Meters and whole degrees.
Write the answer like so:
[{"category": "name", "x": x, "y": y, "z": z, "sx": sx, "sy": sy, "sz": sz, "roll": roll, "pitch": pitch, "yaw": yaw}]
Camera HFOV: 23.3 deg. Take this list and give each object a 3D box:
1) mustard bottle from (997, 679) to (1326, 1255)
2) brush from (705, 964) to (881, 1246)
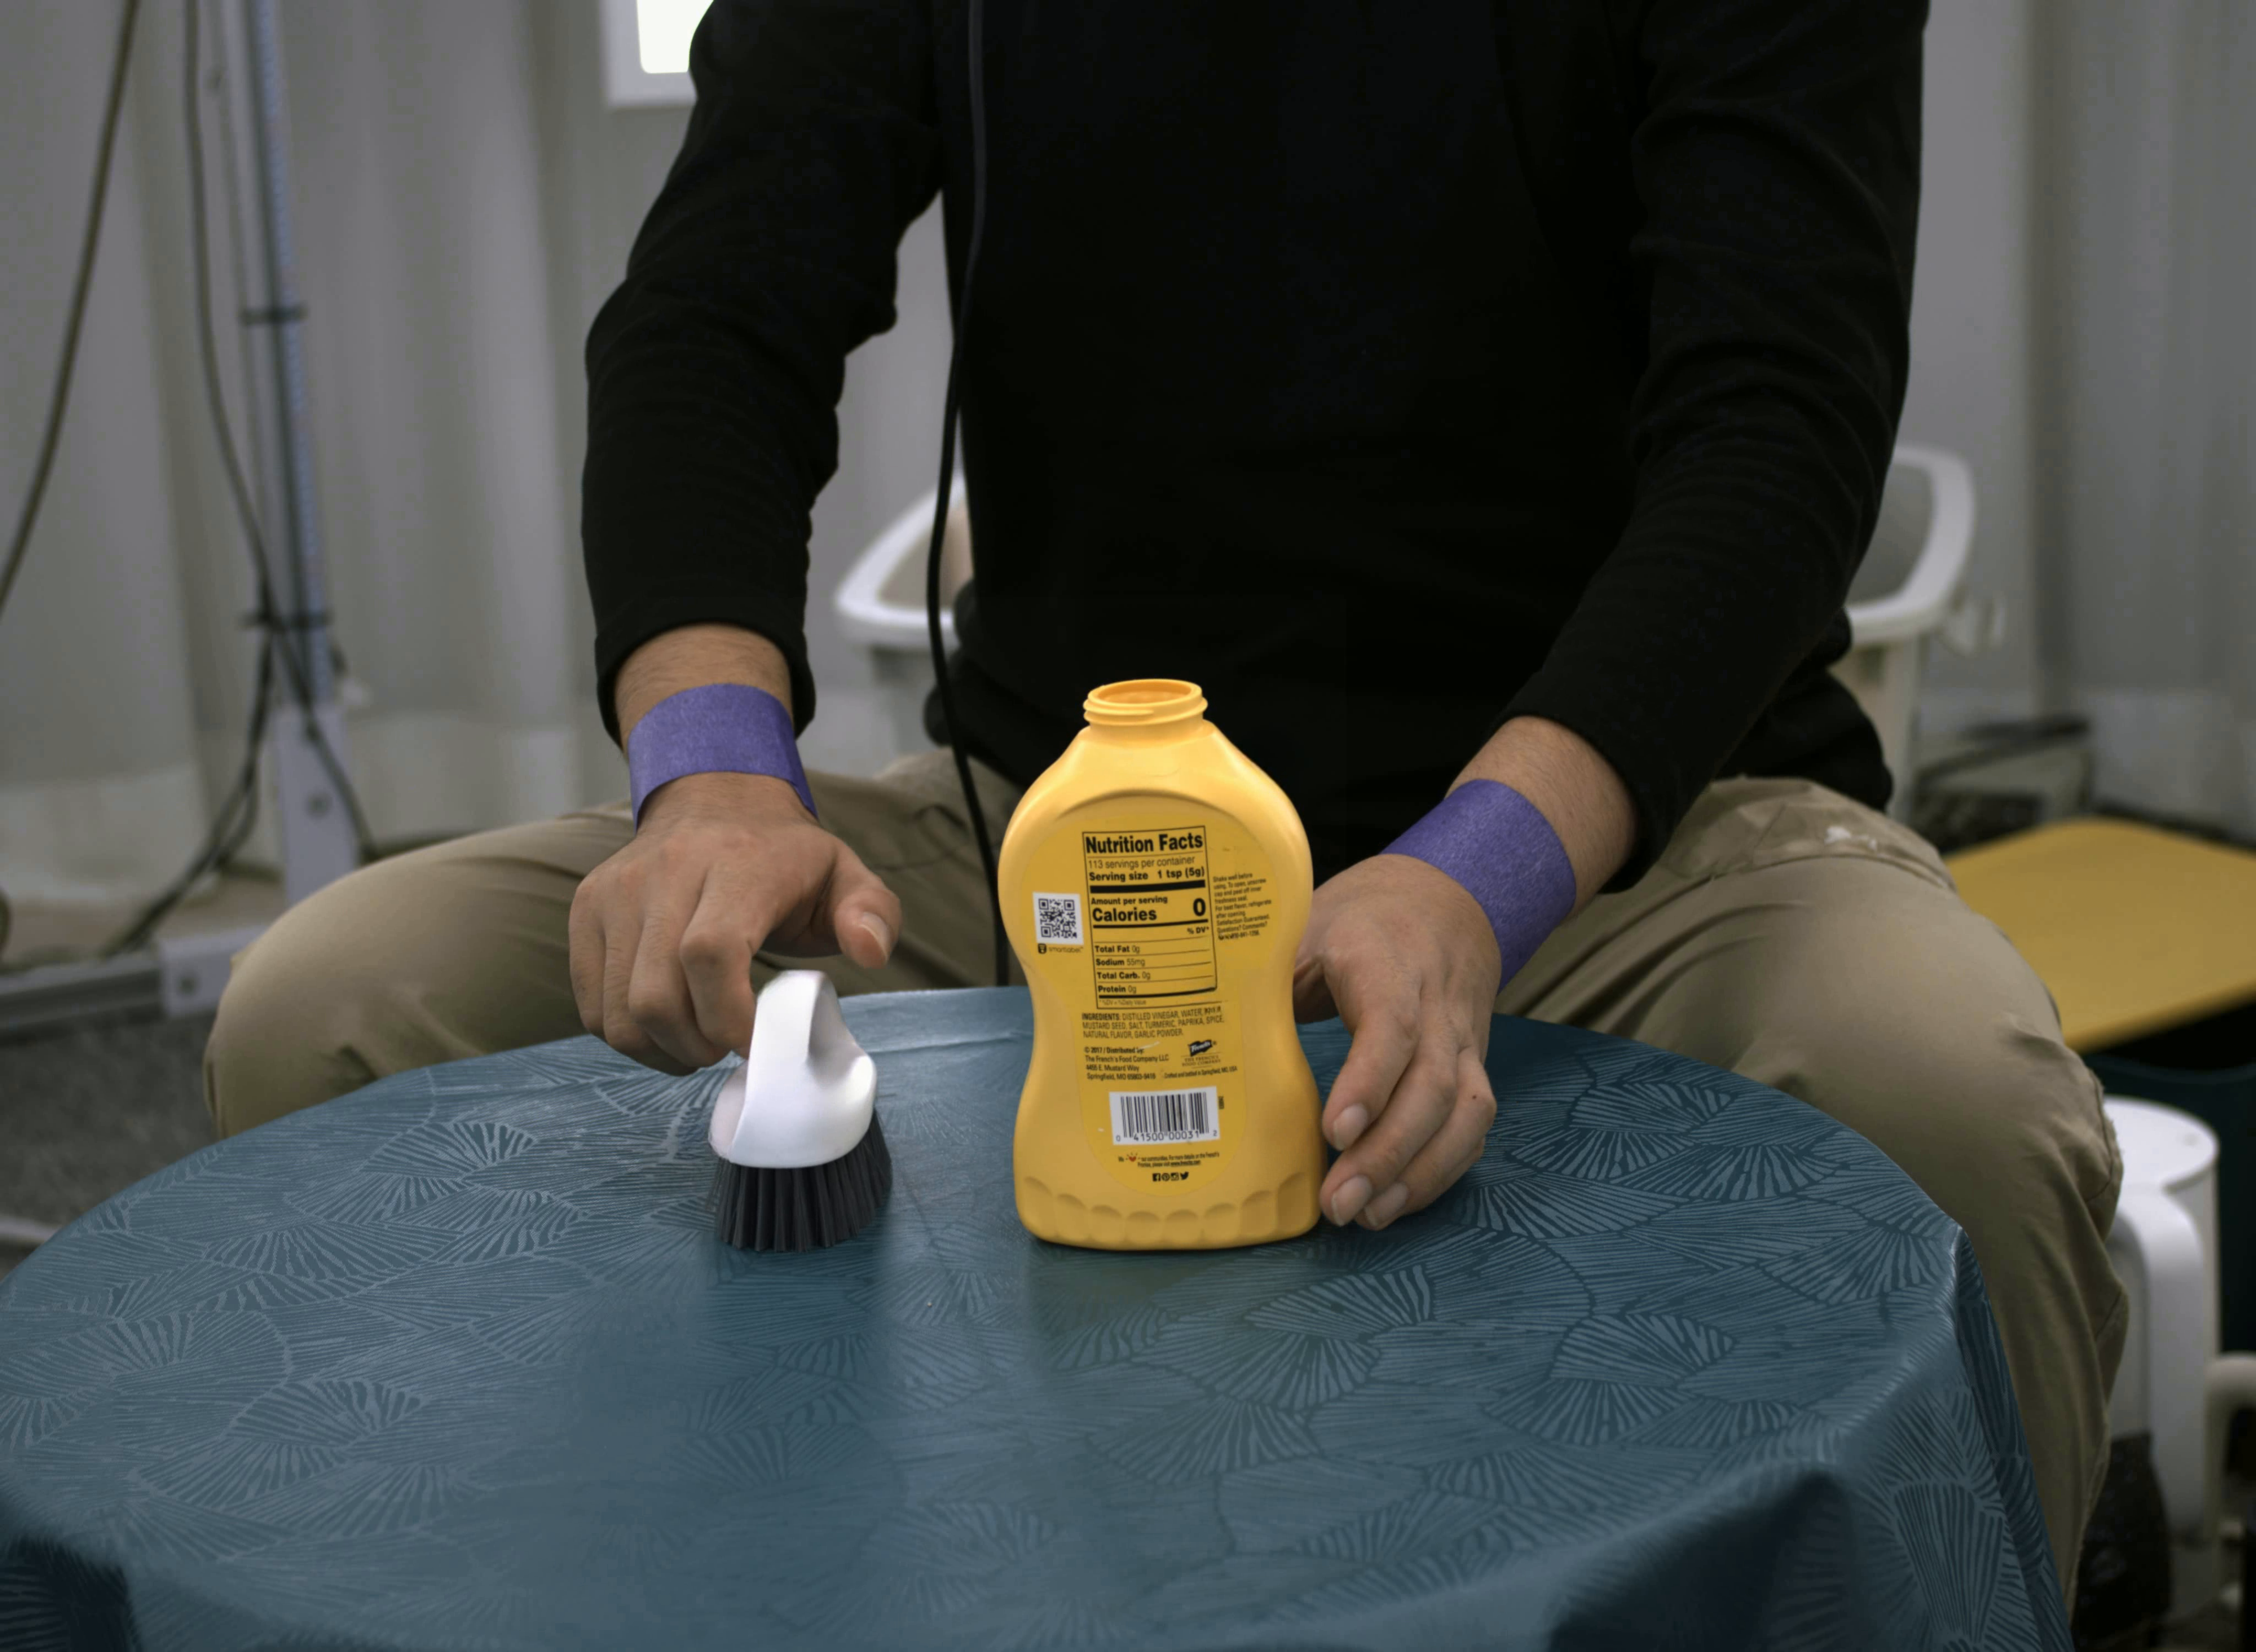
[{"category": "mustard bottle", "x": 0.008, "y": 0.042, "z": 1.660, "sx": 0.098, "sy": 0.171, "sz": 0.059, "roll": -3, "pitch": 11, "yaw": 6}, {"category": "brush", "x": -0.106, "y": 0.082, "z": 1.714, "sx": 0.050, "sy": 0.072, "sz": 0.100, "roll": 0, "pitch": 16, "yaw": 6}]
